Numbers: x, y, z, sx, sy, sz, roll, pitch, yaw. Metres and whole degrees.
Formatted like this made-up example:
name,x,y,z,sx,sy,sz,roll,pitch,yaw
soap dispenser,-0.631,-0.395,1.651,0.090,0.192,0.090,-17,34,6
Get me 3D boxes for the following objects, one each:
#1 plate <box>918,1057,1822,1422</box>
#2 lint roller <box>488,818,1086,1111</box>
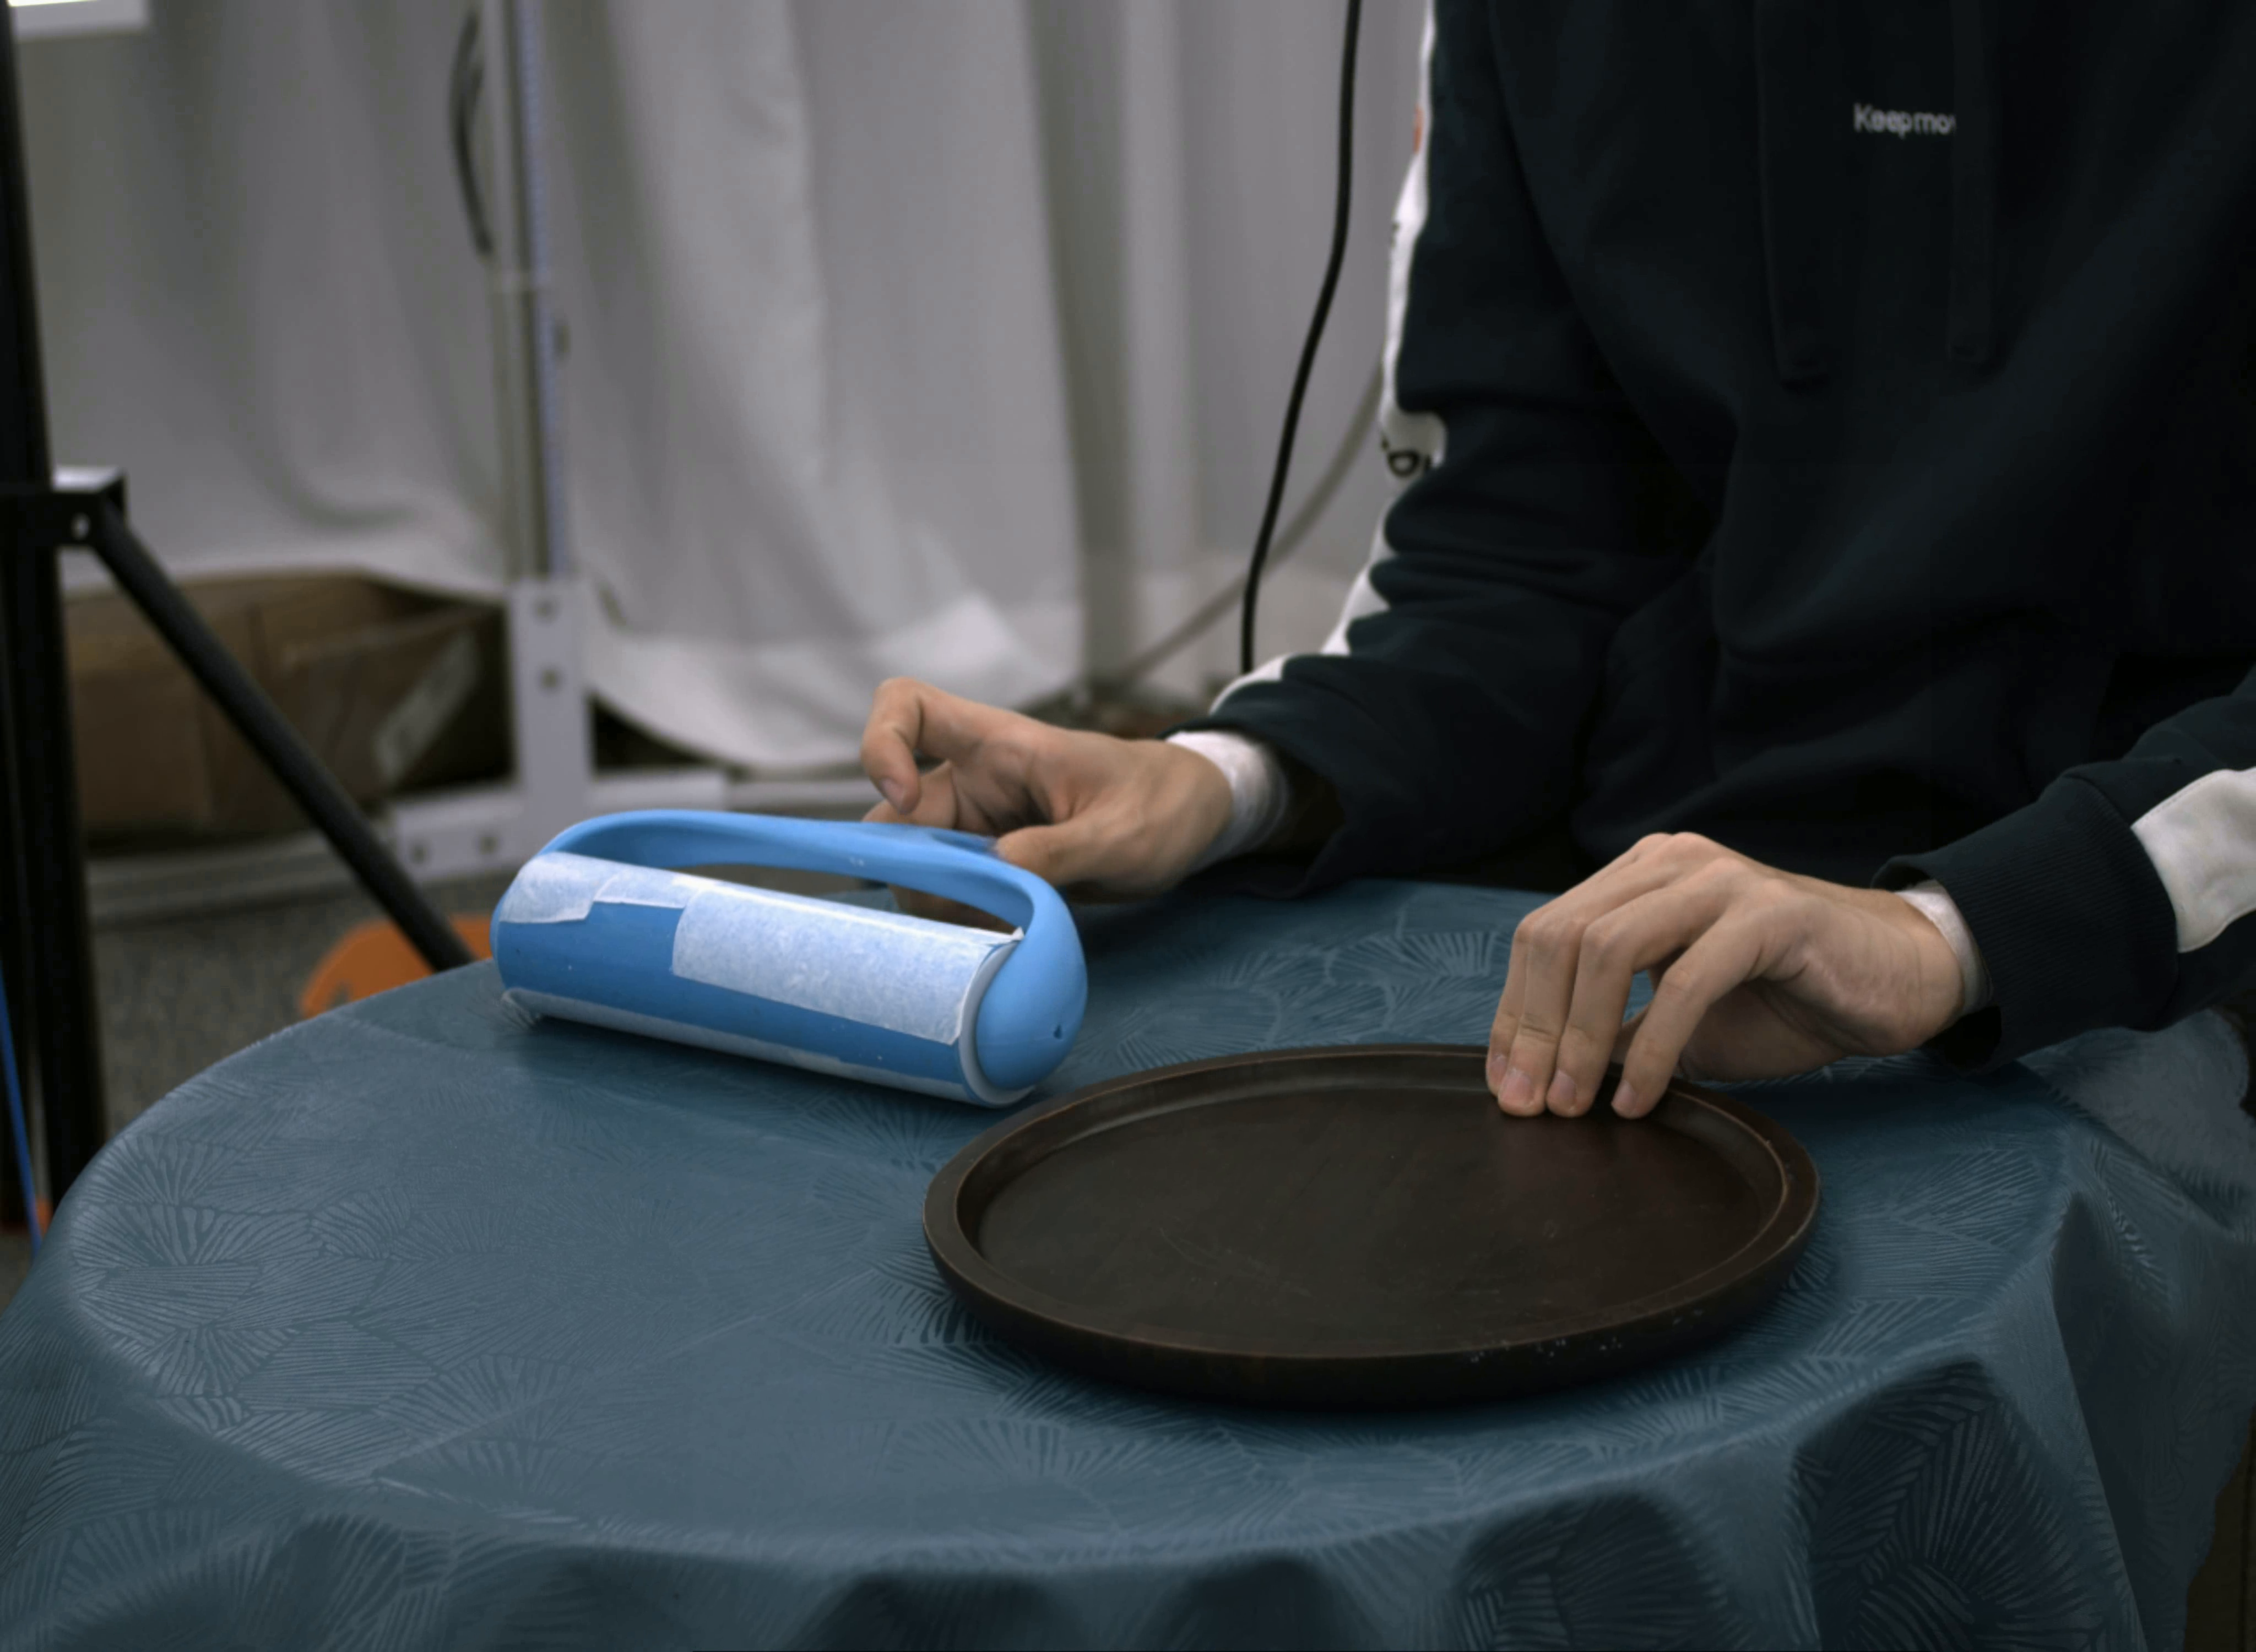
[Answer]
name,x,y,z,sx,sy,sz,roll,pitch,yaw
plate,0.068,0.113,1.486,0.253,0.029,0.256,-3,17,-1
lint roller,-0.080,0.032,1.734,0.233,0.068,0.177,7,19,35
